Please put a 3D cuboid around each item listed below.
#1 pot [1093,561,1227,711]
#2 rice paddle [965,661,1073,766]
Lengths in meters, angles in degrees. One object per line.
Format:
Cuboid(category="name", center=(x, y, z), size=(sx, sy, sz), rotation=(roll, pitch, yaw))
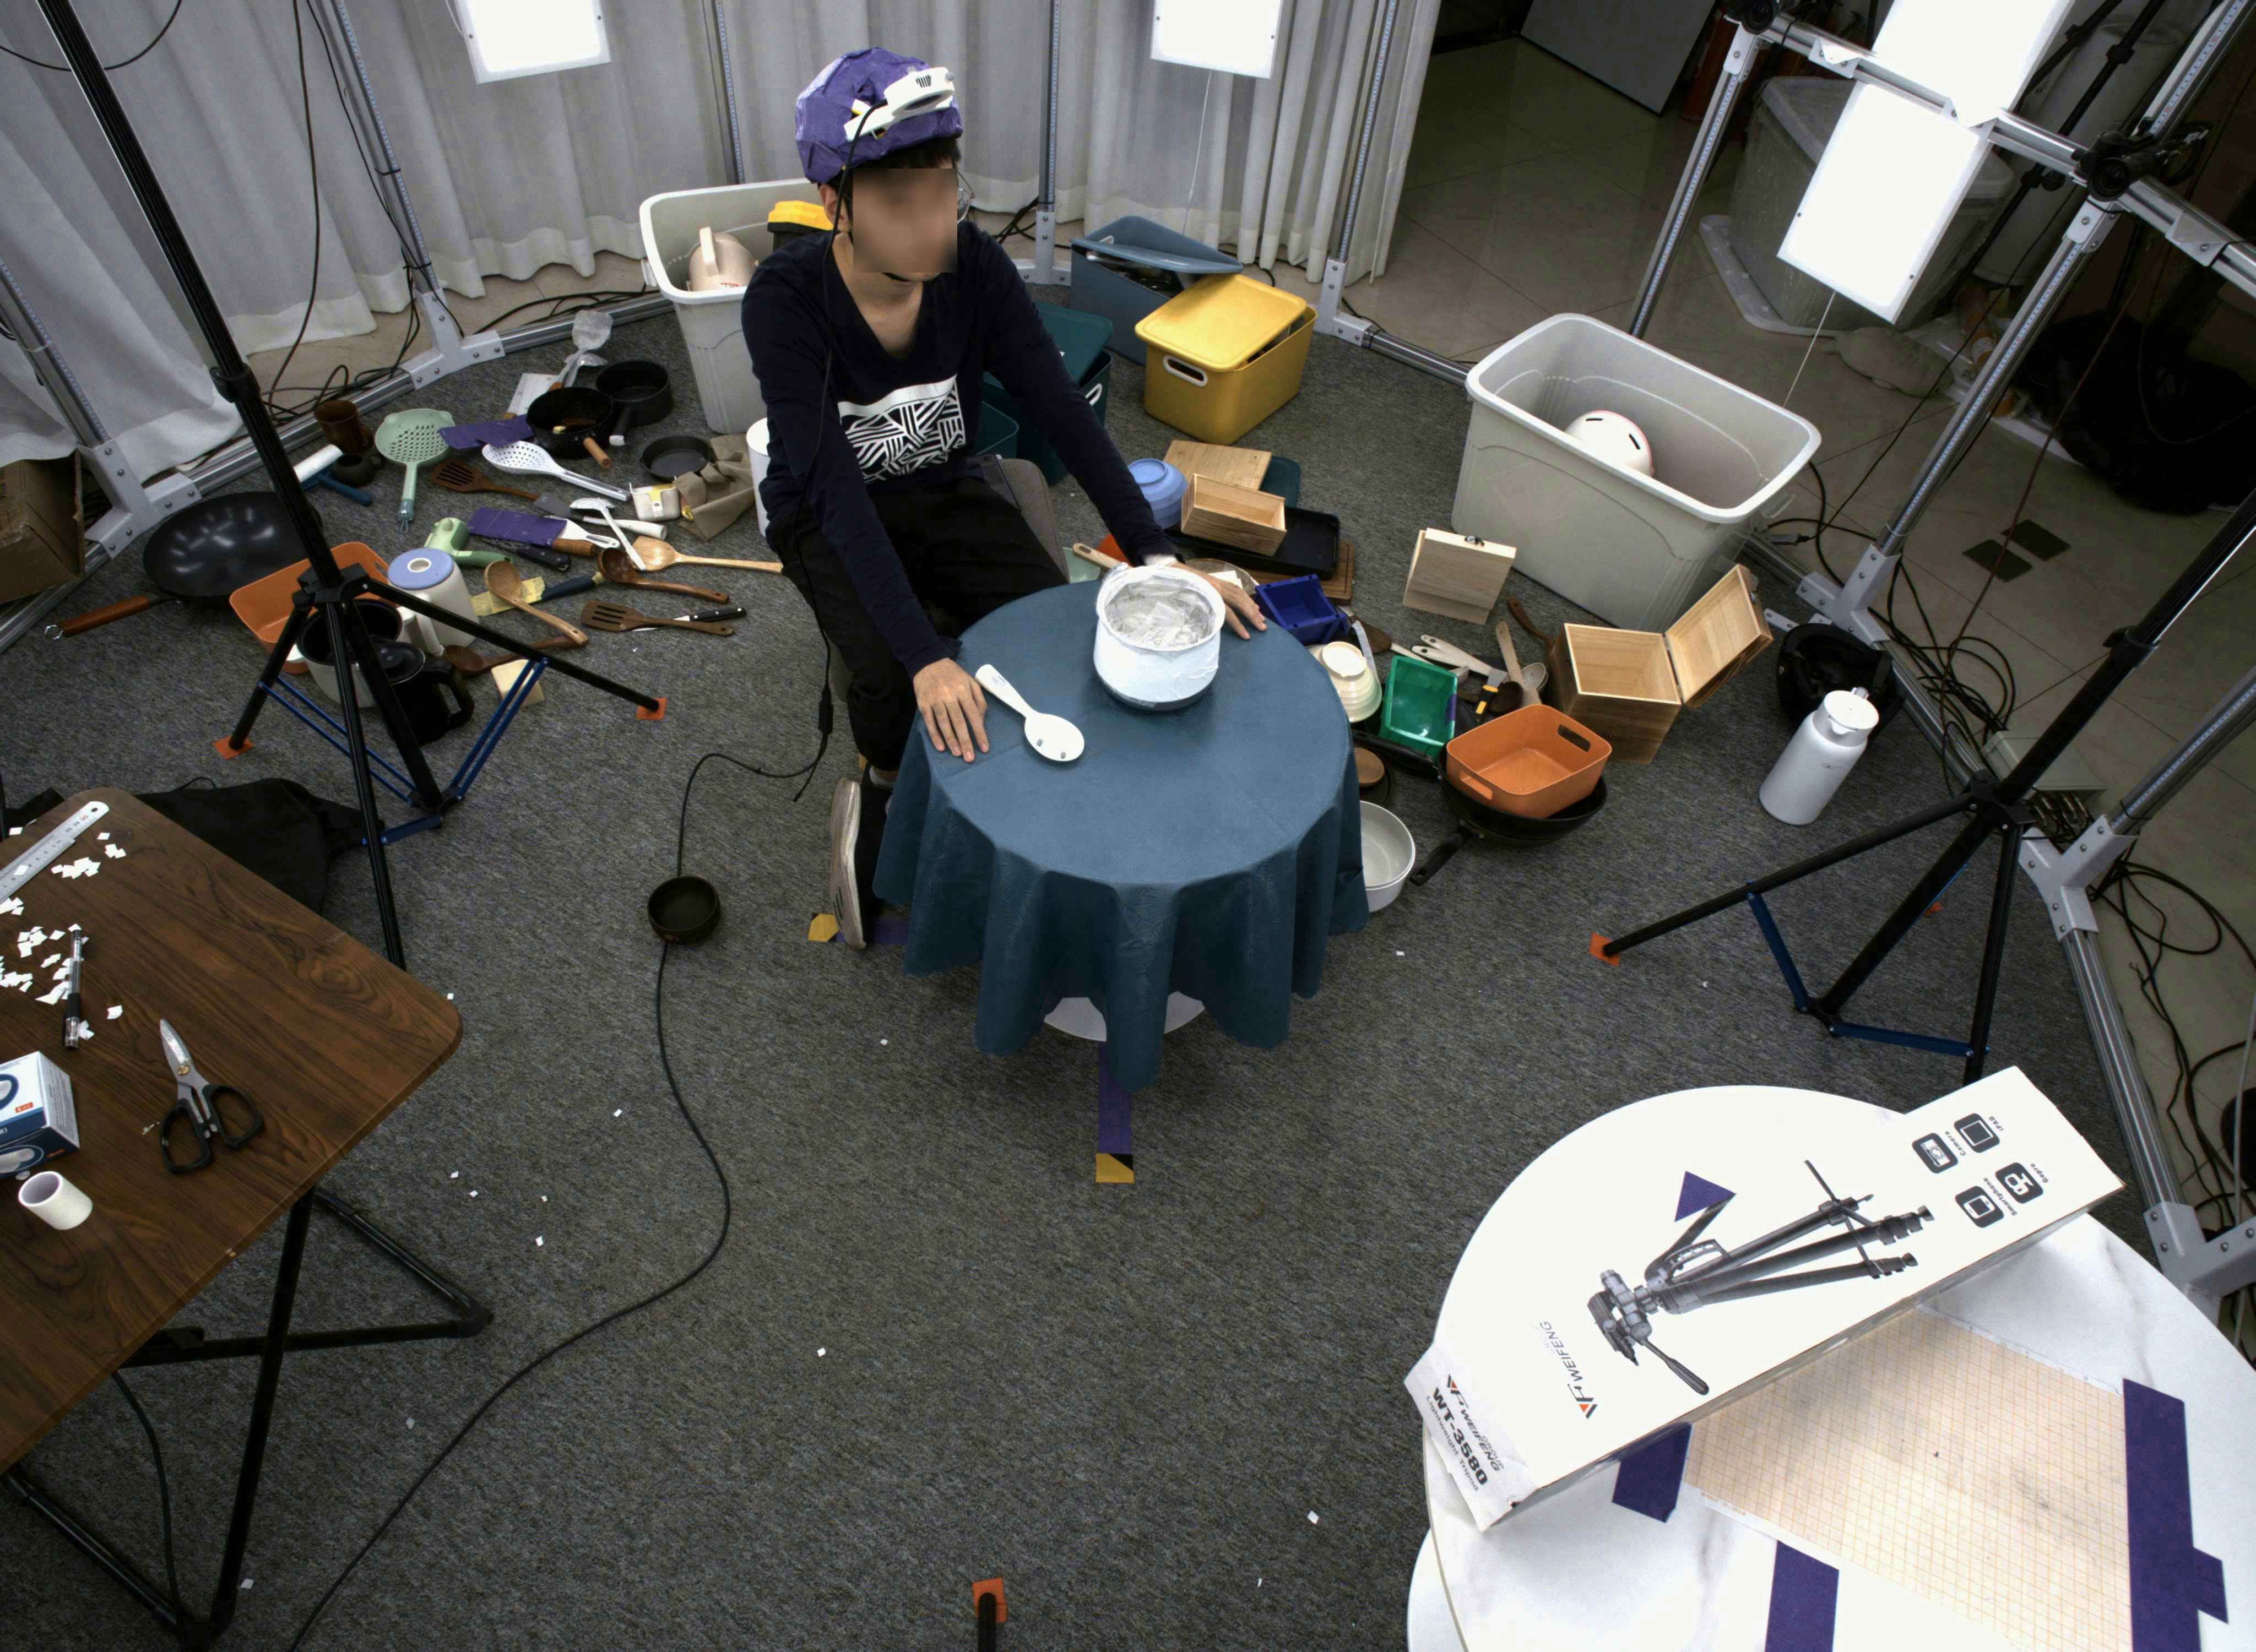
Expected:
Cuboid(category="pot", center=(0.026, -0.279, 1.823), size=(0.179, 0.133, 0.238), rotation=(-23, 55, -25))
Cuboid(category="rice paddle", center=(-0.151, -0.155, 1.780), size=(0.069, 0.029, 0.208), rotation=(-29, 63, -32))
